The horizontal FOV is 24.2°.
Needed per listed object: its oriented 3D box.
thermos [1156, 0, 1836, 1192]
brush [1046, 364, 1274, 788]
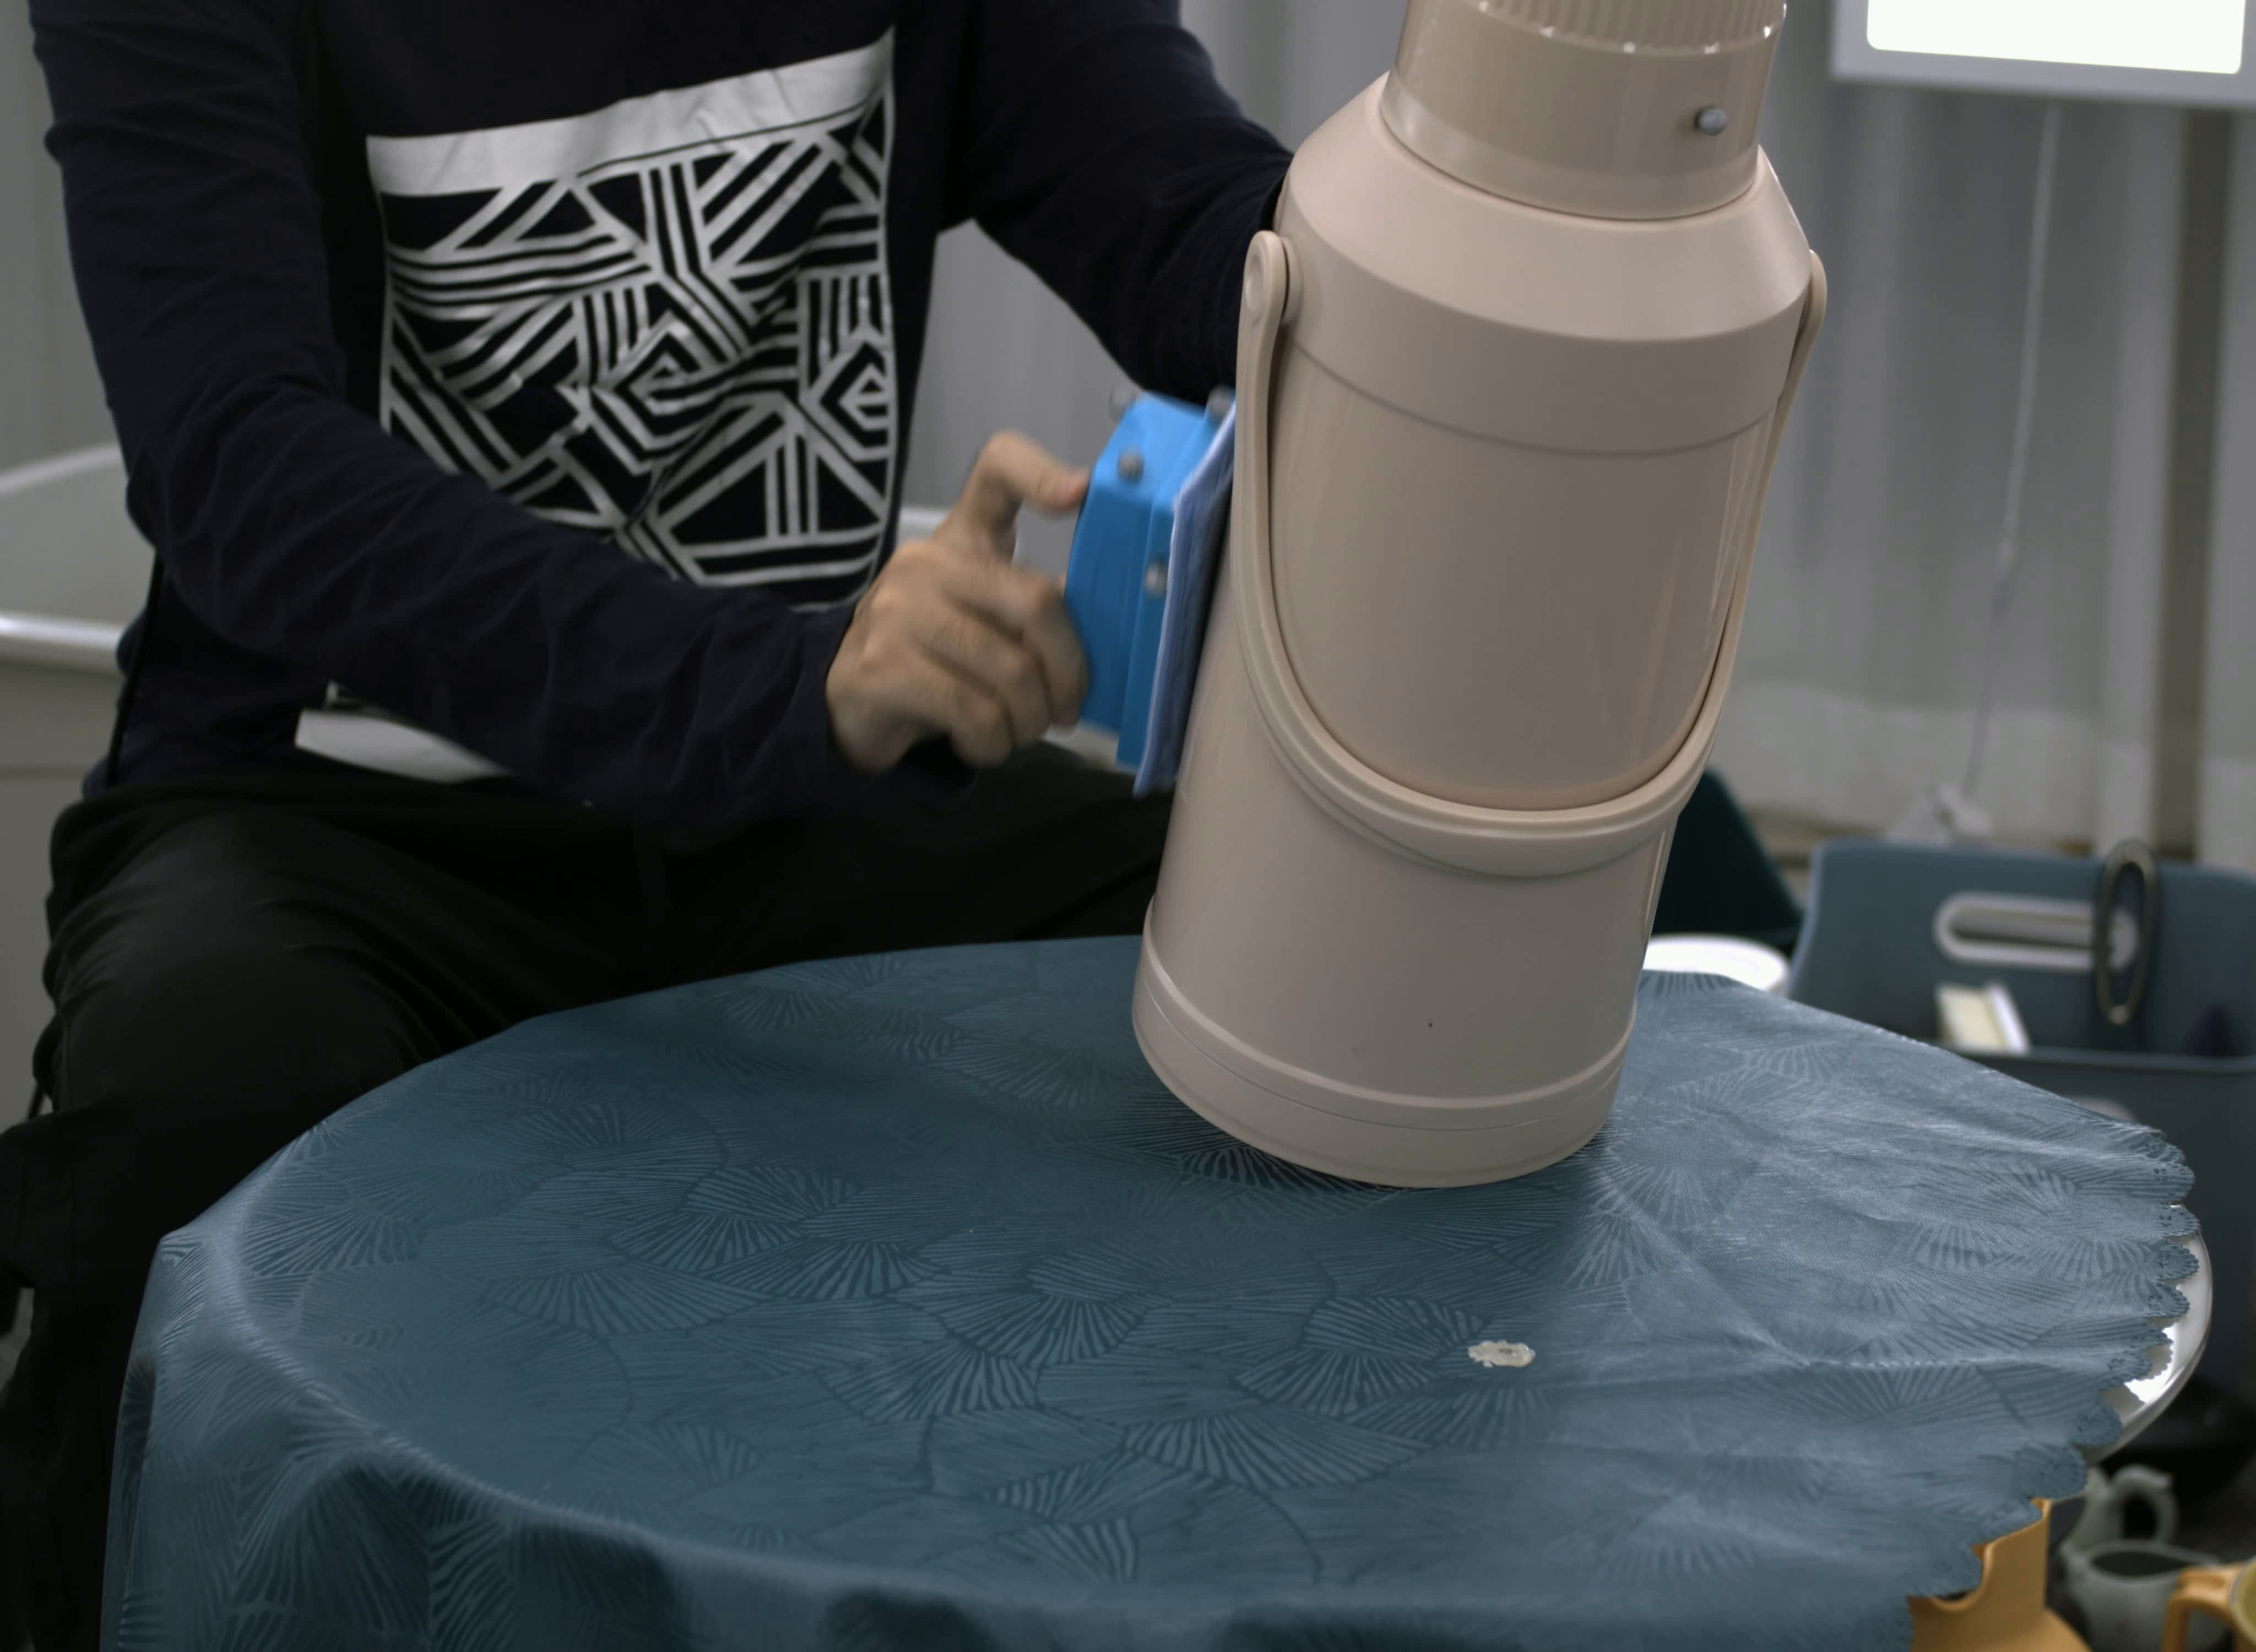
[{"bbox_3d":[0.110,-0.104,1.600,0.176,0.410,0.204,-2,33,-17],"label":"thermos"},{"bbox_3d":[0.005,-0.083,1.650,0.055,0.145,0.083,24,52,12],"label":"brush"}]
